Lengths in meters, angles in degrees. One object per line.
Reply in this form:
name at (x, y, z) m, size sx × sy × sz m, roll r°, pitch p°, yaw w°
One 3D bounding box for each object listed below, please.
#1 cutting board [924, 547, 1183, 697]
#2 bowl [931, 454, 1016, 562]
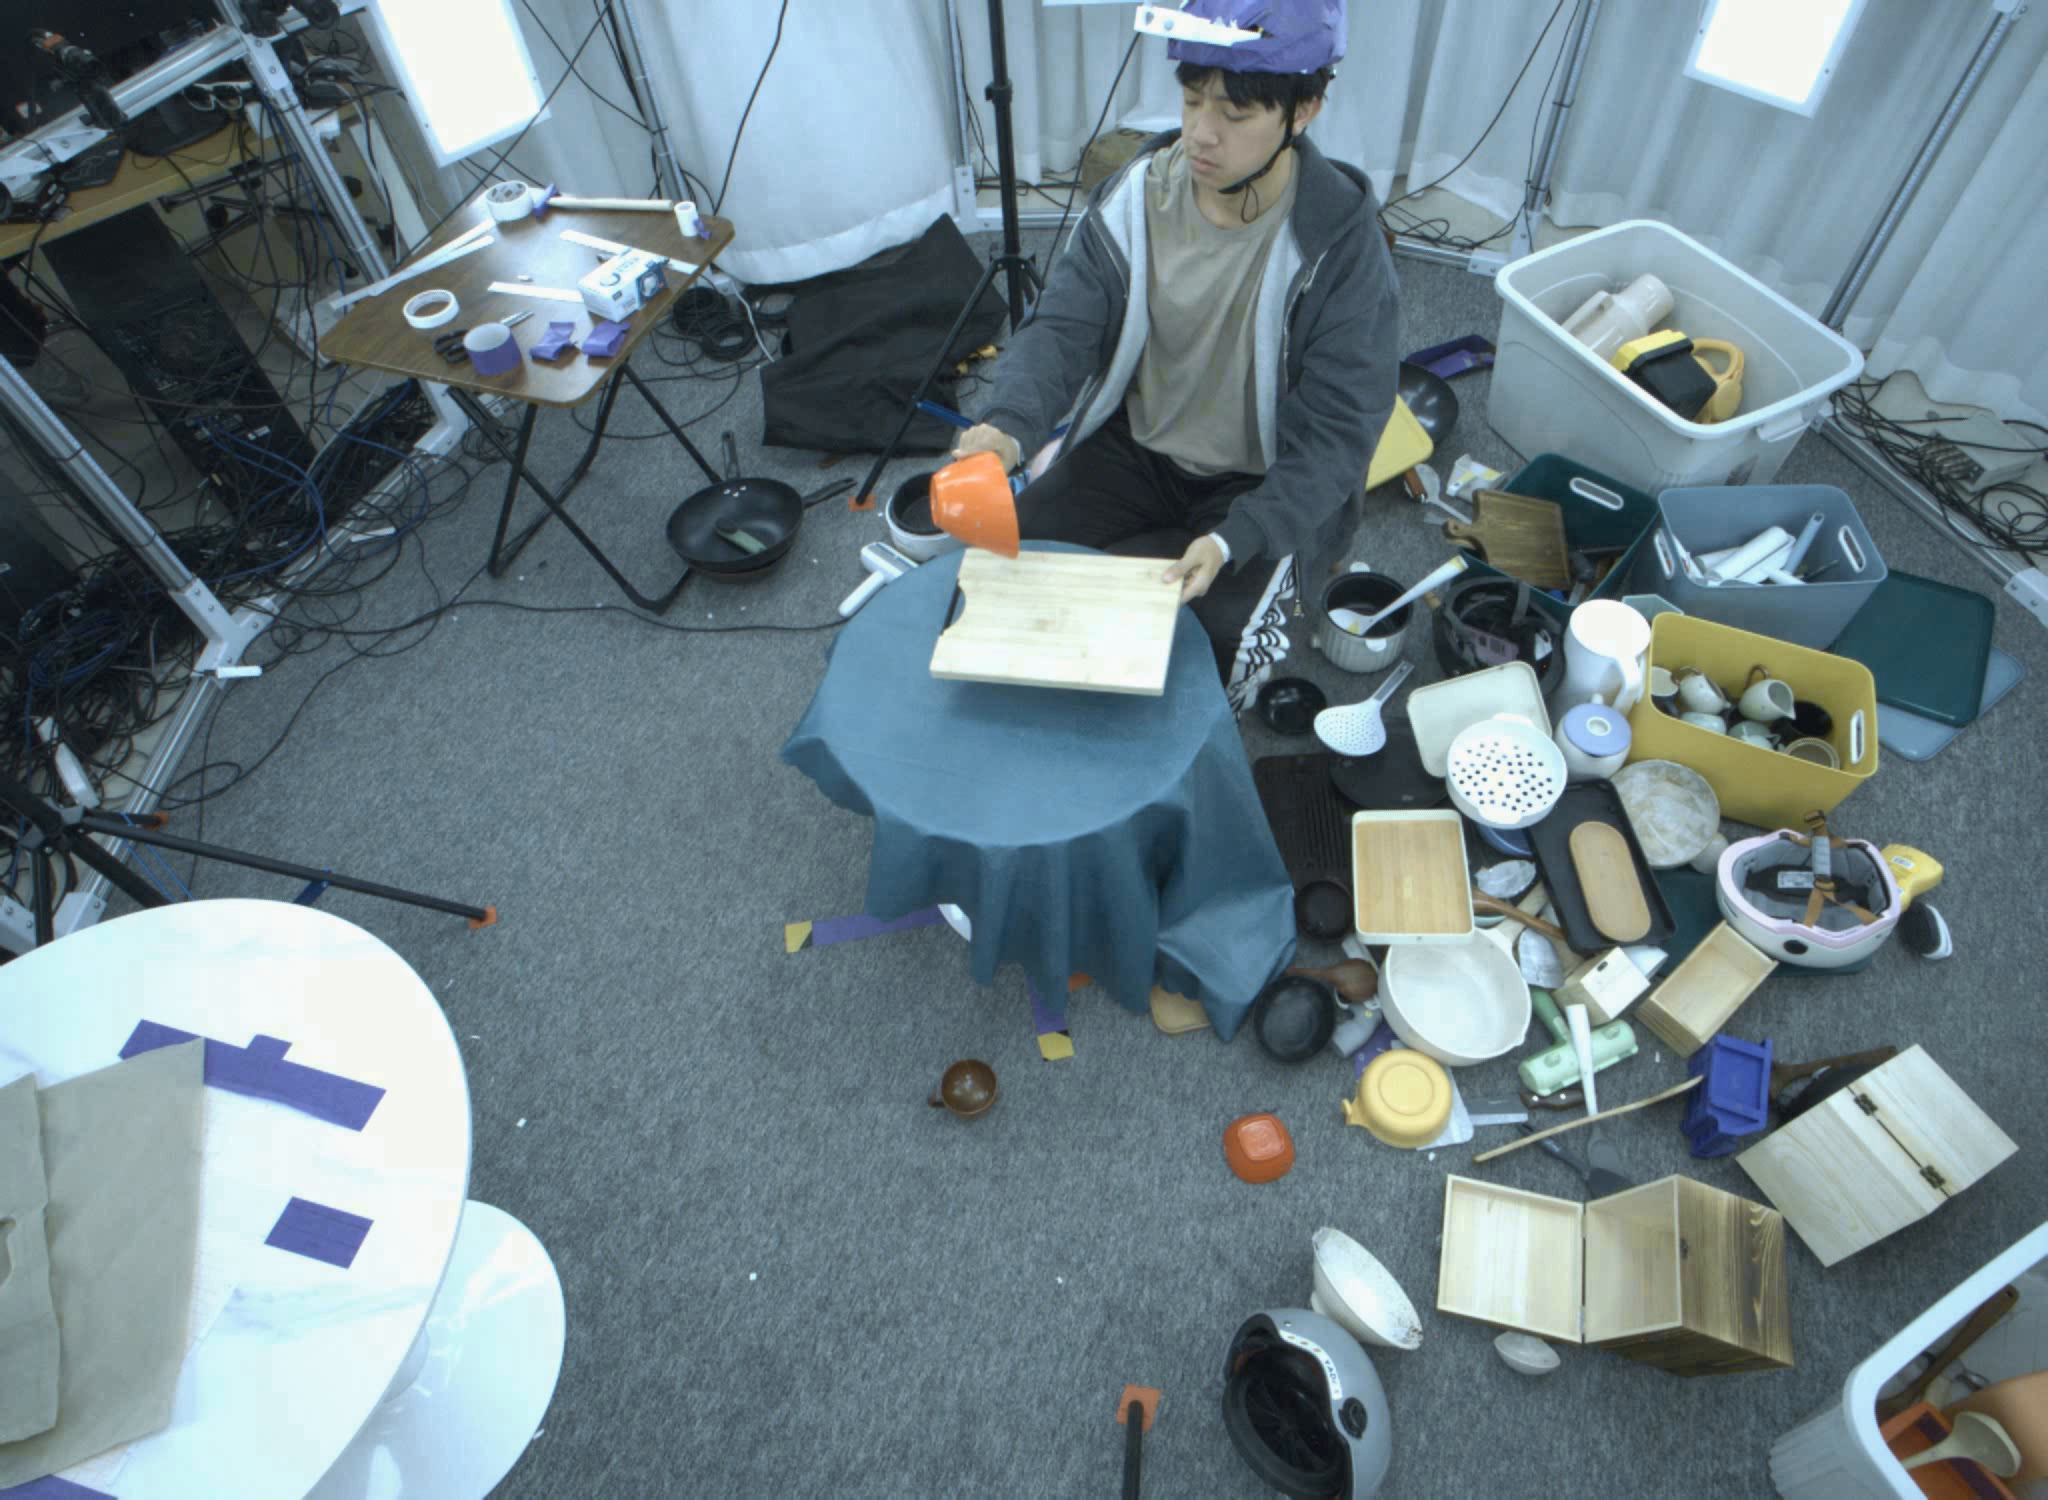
cutting board at (0.046, -0.194, 1.810) m, size 0.346 × 0.024 × 0.249 m, roll 5°, pitch 58°, yaw 11°
bowl at (-0.072, -0.324, 1.642) m, size 0.105 × 0.149 × 0.146 m, roll -5°, pitch 55°, yaw -10°
